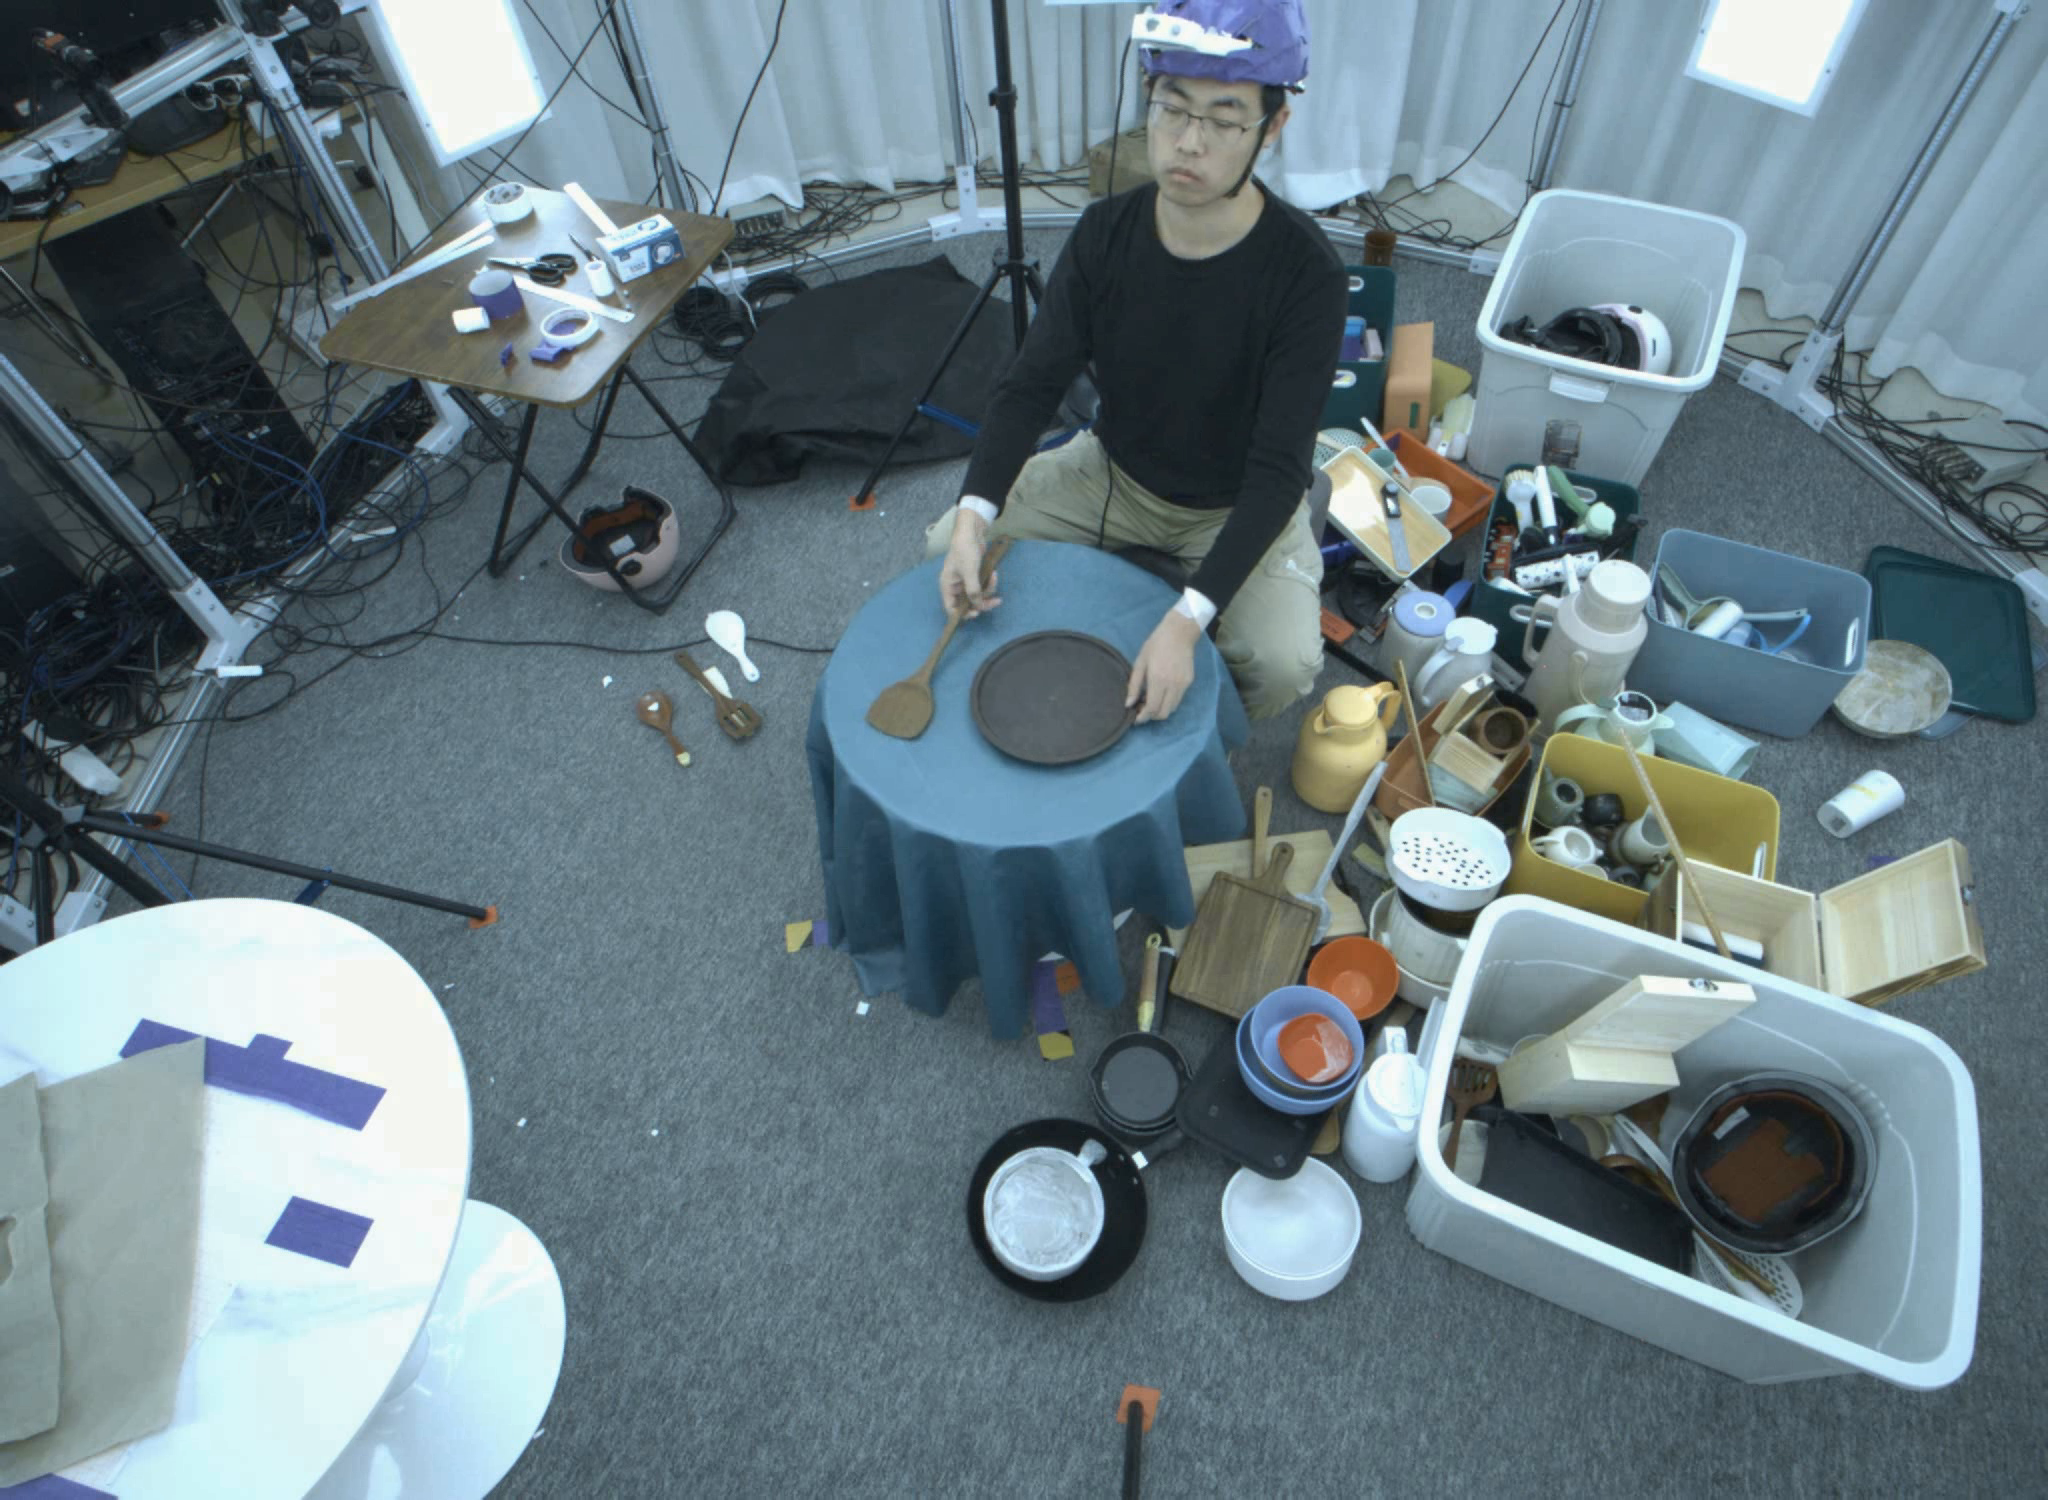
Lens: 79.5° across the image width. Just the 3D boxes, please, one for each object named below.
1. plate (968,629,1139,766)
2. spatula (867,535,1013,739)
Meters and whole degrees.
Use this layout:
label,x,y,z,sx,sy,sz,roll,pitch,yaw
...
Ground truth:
label,x,y,z,sx,sy,sz,roll,pitch,yaw
plate,0.044,-0.079,1.827,0.254,0.029,0.252,-1,54,3
spatula,-0.113,-0.182,1.874,0.095,0.016,0.386,23,71,16
